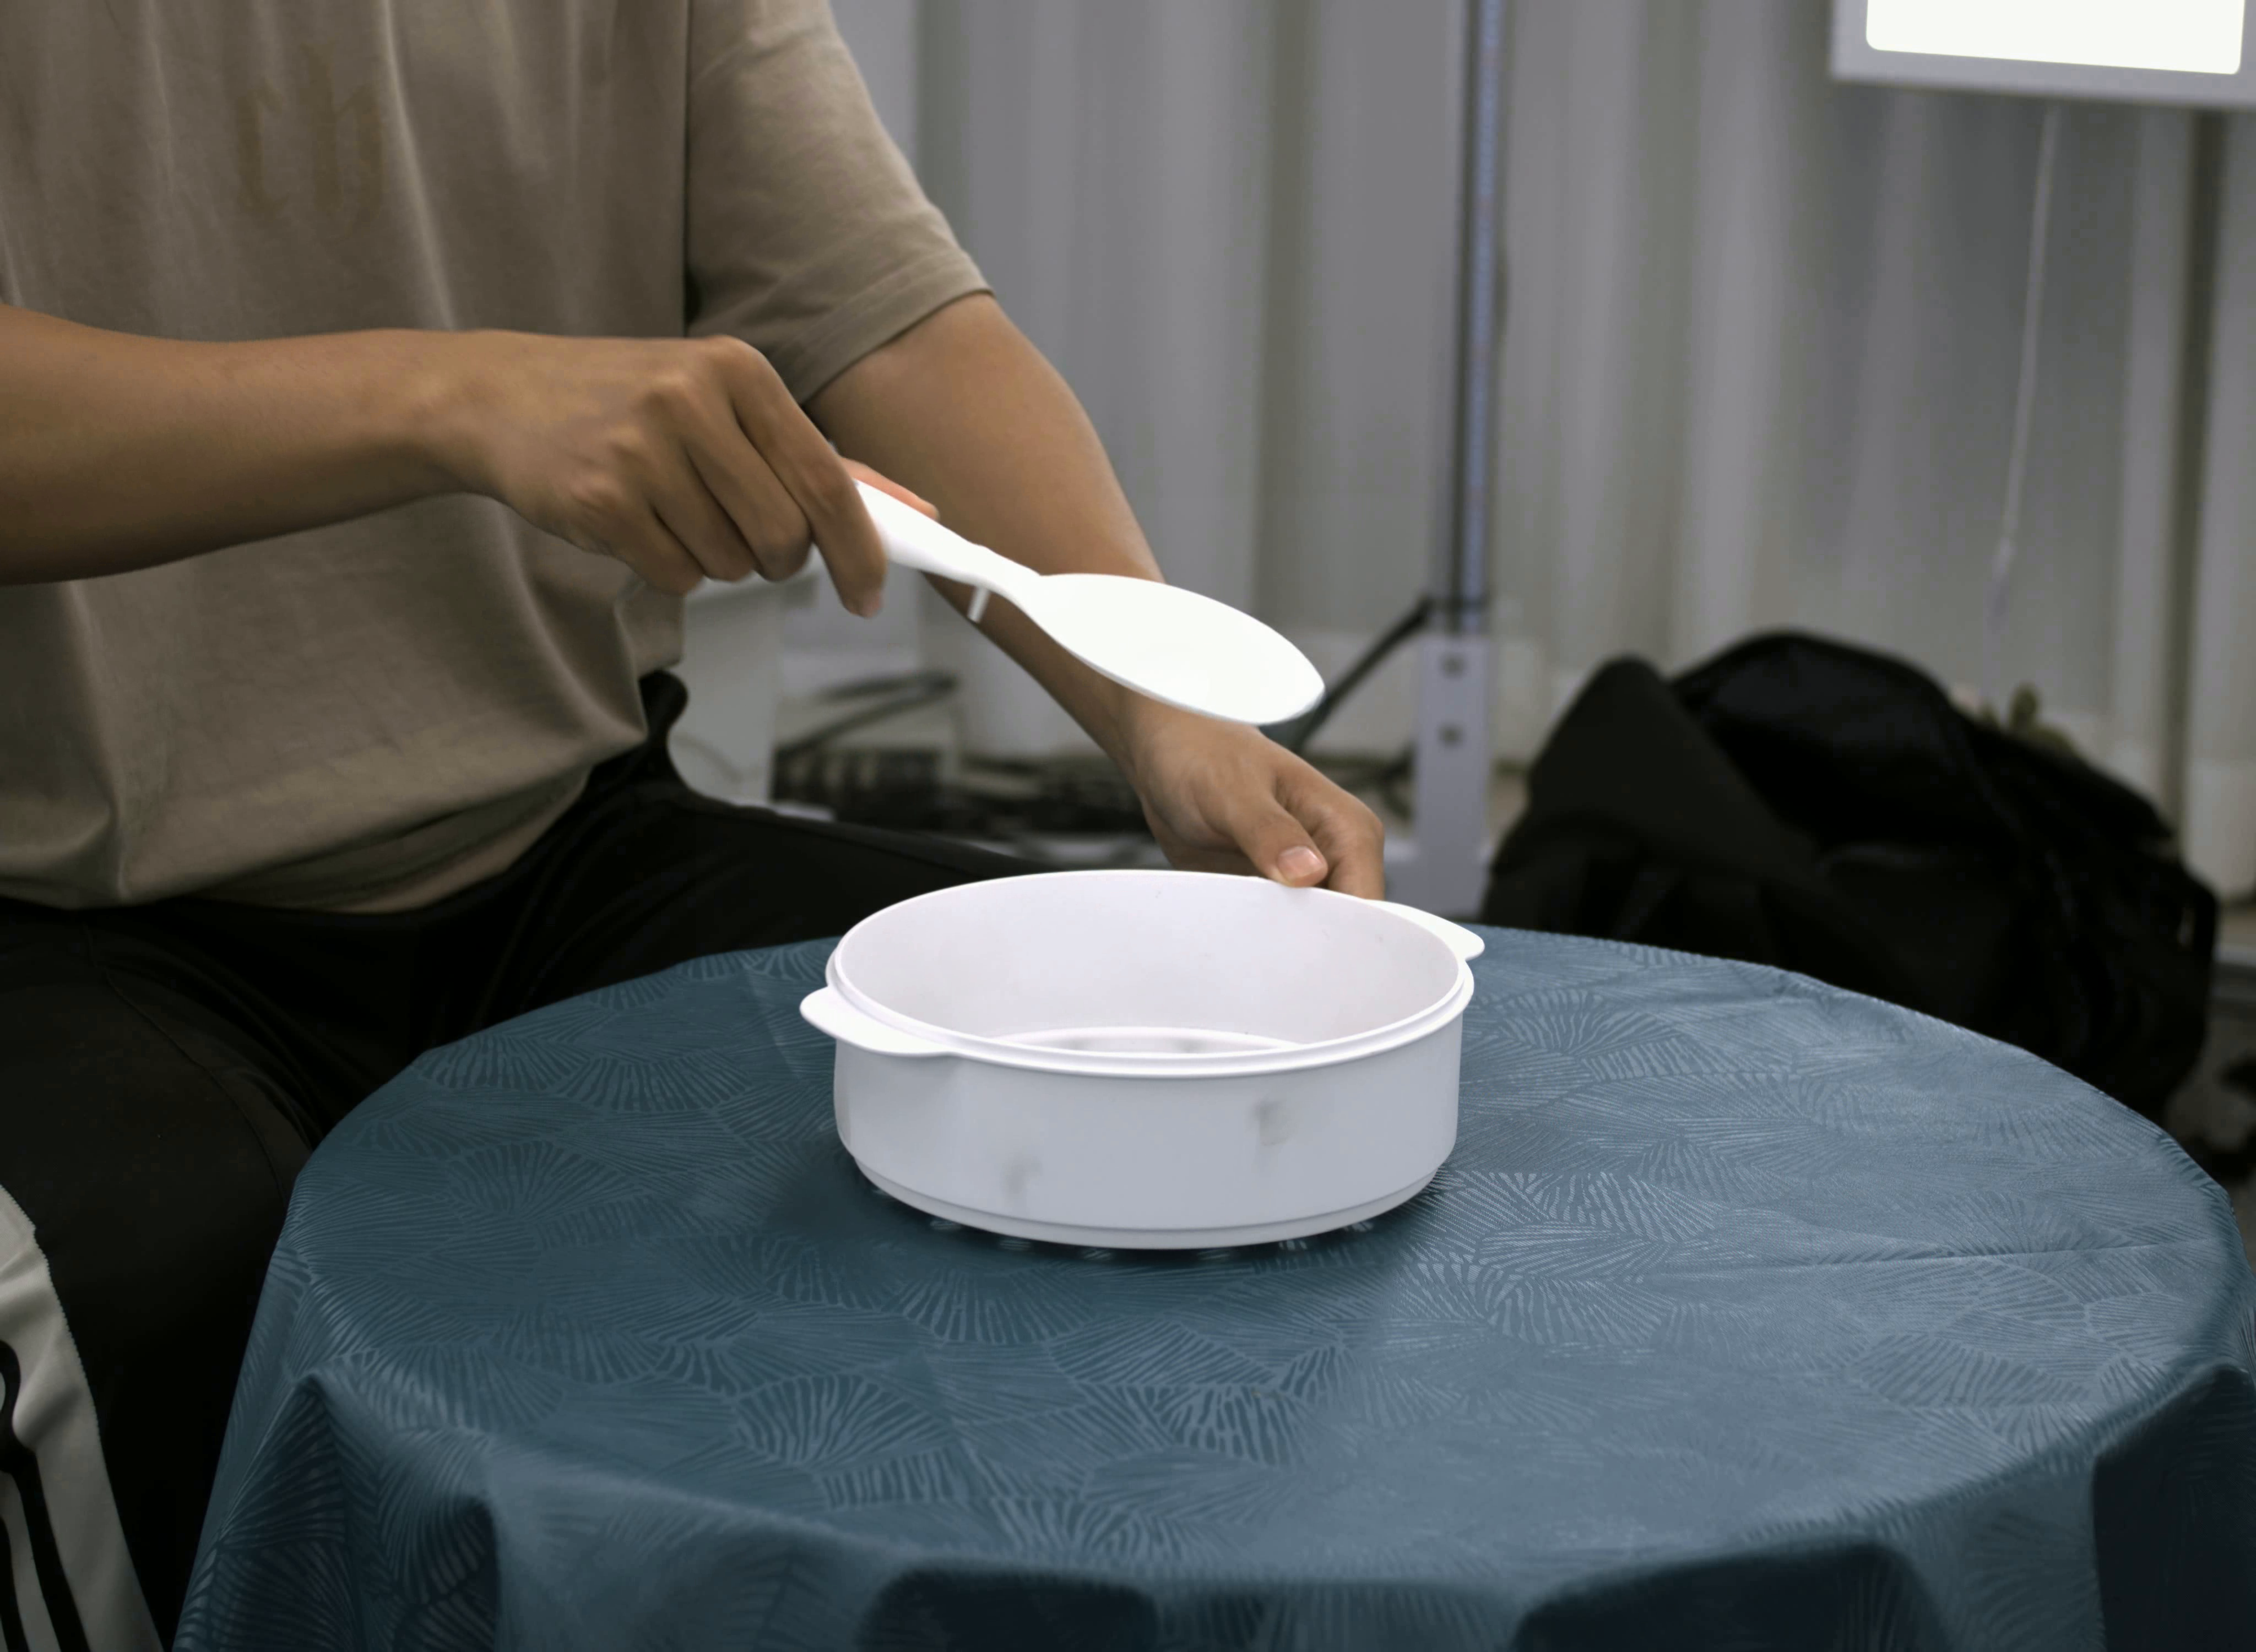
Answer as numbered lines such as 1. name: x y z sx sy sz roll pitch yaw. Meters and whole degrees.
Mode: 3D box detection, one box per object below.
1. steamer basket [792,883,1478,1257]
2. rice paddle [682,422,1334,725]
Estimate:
1. steamer basket: 0.003 0.076 1.638 0.232 0.070 0.199 -6 17 -32
2. rice paddle: -0.033 -0.074 1.585 0.205 0.029 0.068 20 31 -1
